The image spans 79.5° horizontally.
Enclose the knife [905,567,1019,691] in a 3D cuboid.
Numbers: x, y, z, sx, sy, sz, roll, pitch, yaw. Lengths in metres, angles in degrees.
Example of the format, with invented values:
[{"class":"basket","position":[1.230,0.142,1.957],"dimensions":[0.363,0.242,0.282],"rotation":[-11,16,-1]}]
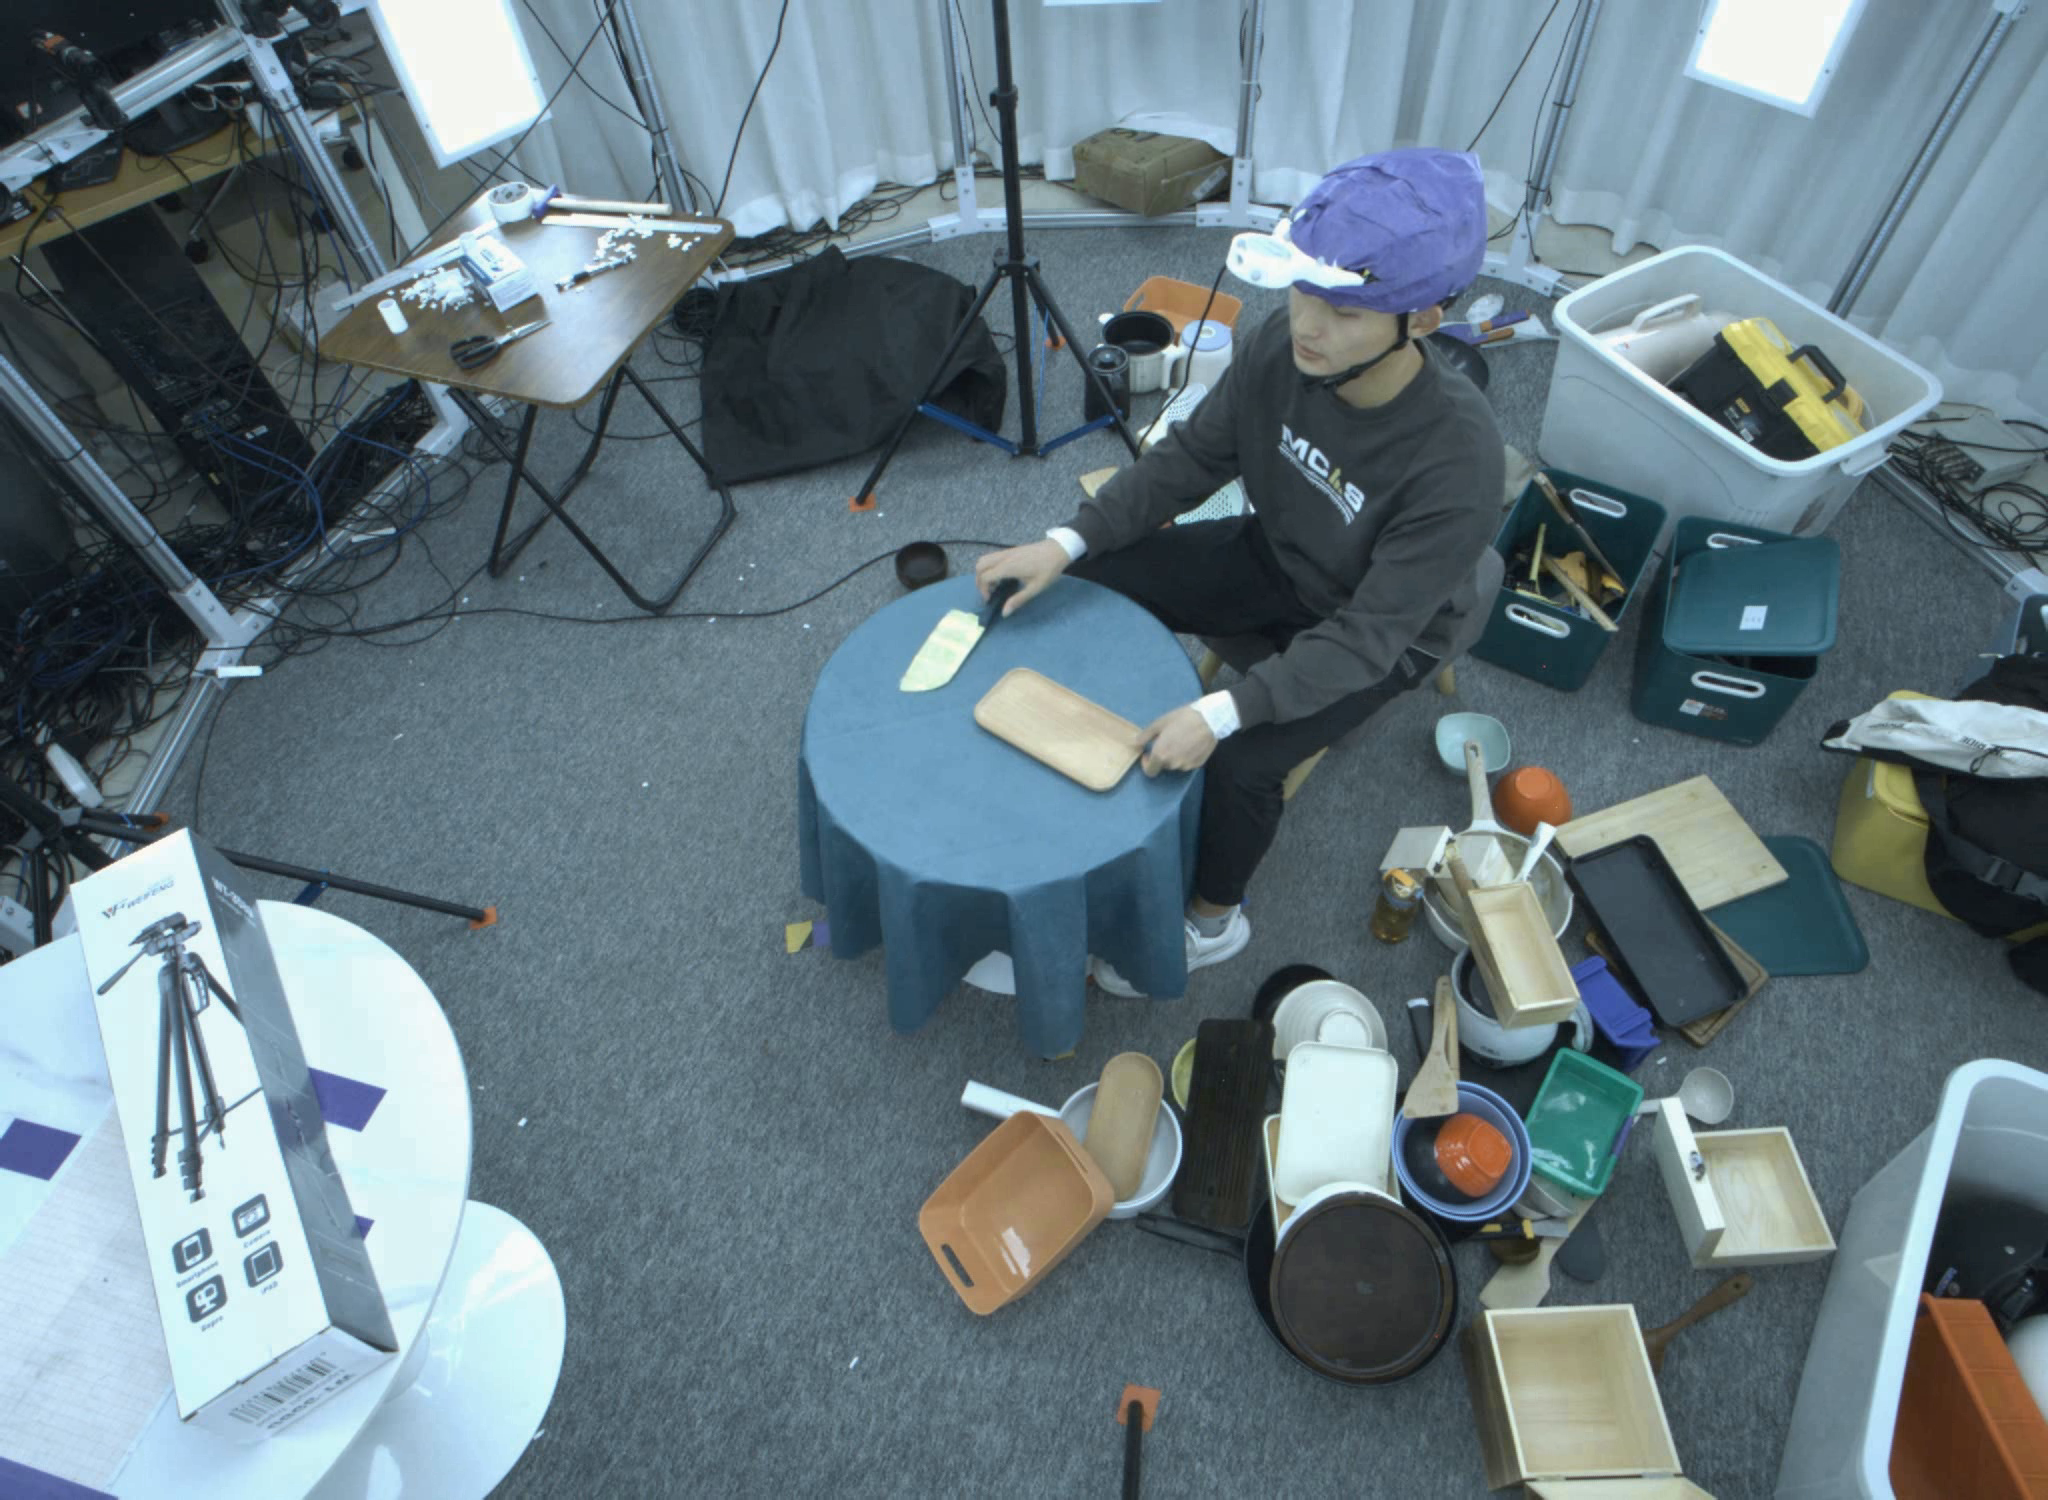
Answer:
[{"class":"knife","position":[-0.096,-0.194,1.927],"dimensions":[0.080,0.027,0.290],"rotation":[26,60,17]}]

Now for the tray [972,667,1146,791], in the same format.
[{"class":"tray","position":[0.050,-0.032,1.807],"dimensions":[0.246,0.023,0.131],"rotation":[30,58,21]}]
